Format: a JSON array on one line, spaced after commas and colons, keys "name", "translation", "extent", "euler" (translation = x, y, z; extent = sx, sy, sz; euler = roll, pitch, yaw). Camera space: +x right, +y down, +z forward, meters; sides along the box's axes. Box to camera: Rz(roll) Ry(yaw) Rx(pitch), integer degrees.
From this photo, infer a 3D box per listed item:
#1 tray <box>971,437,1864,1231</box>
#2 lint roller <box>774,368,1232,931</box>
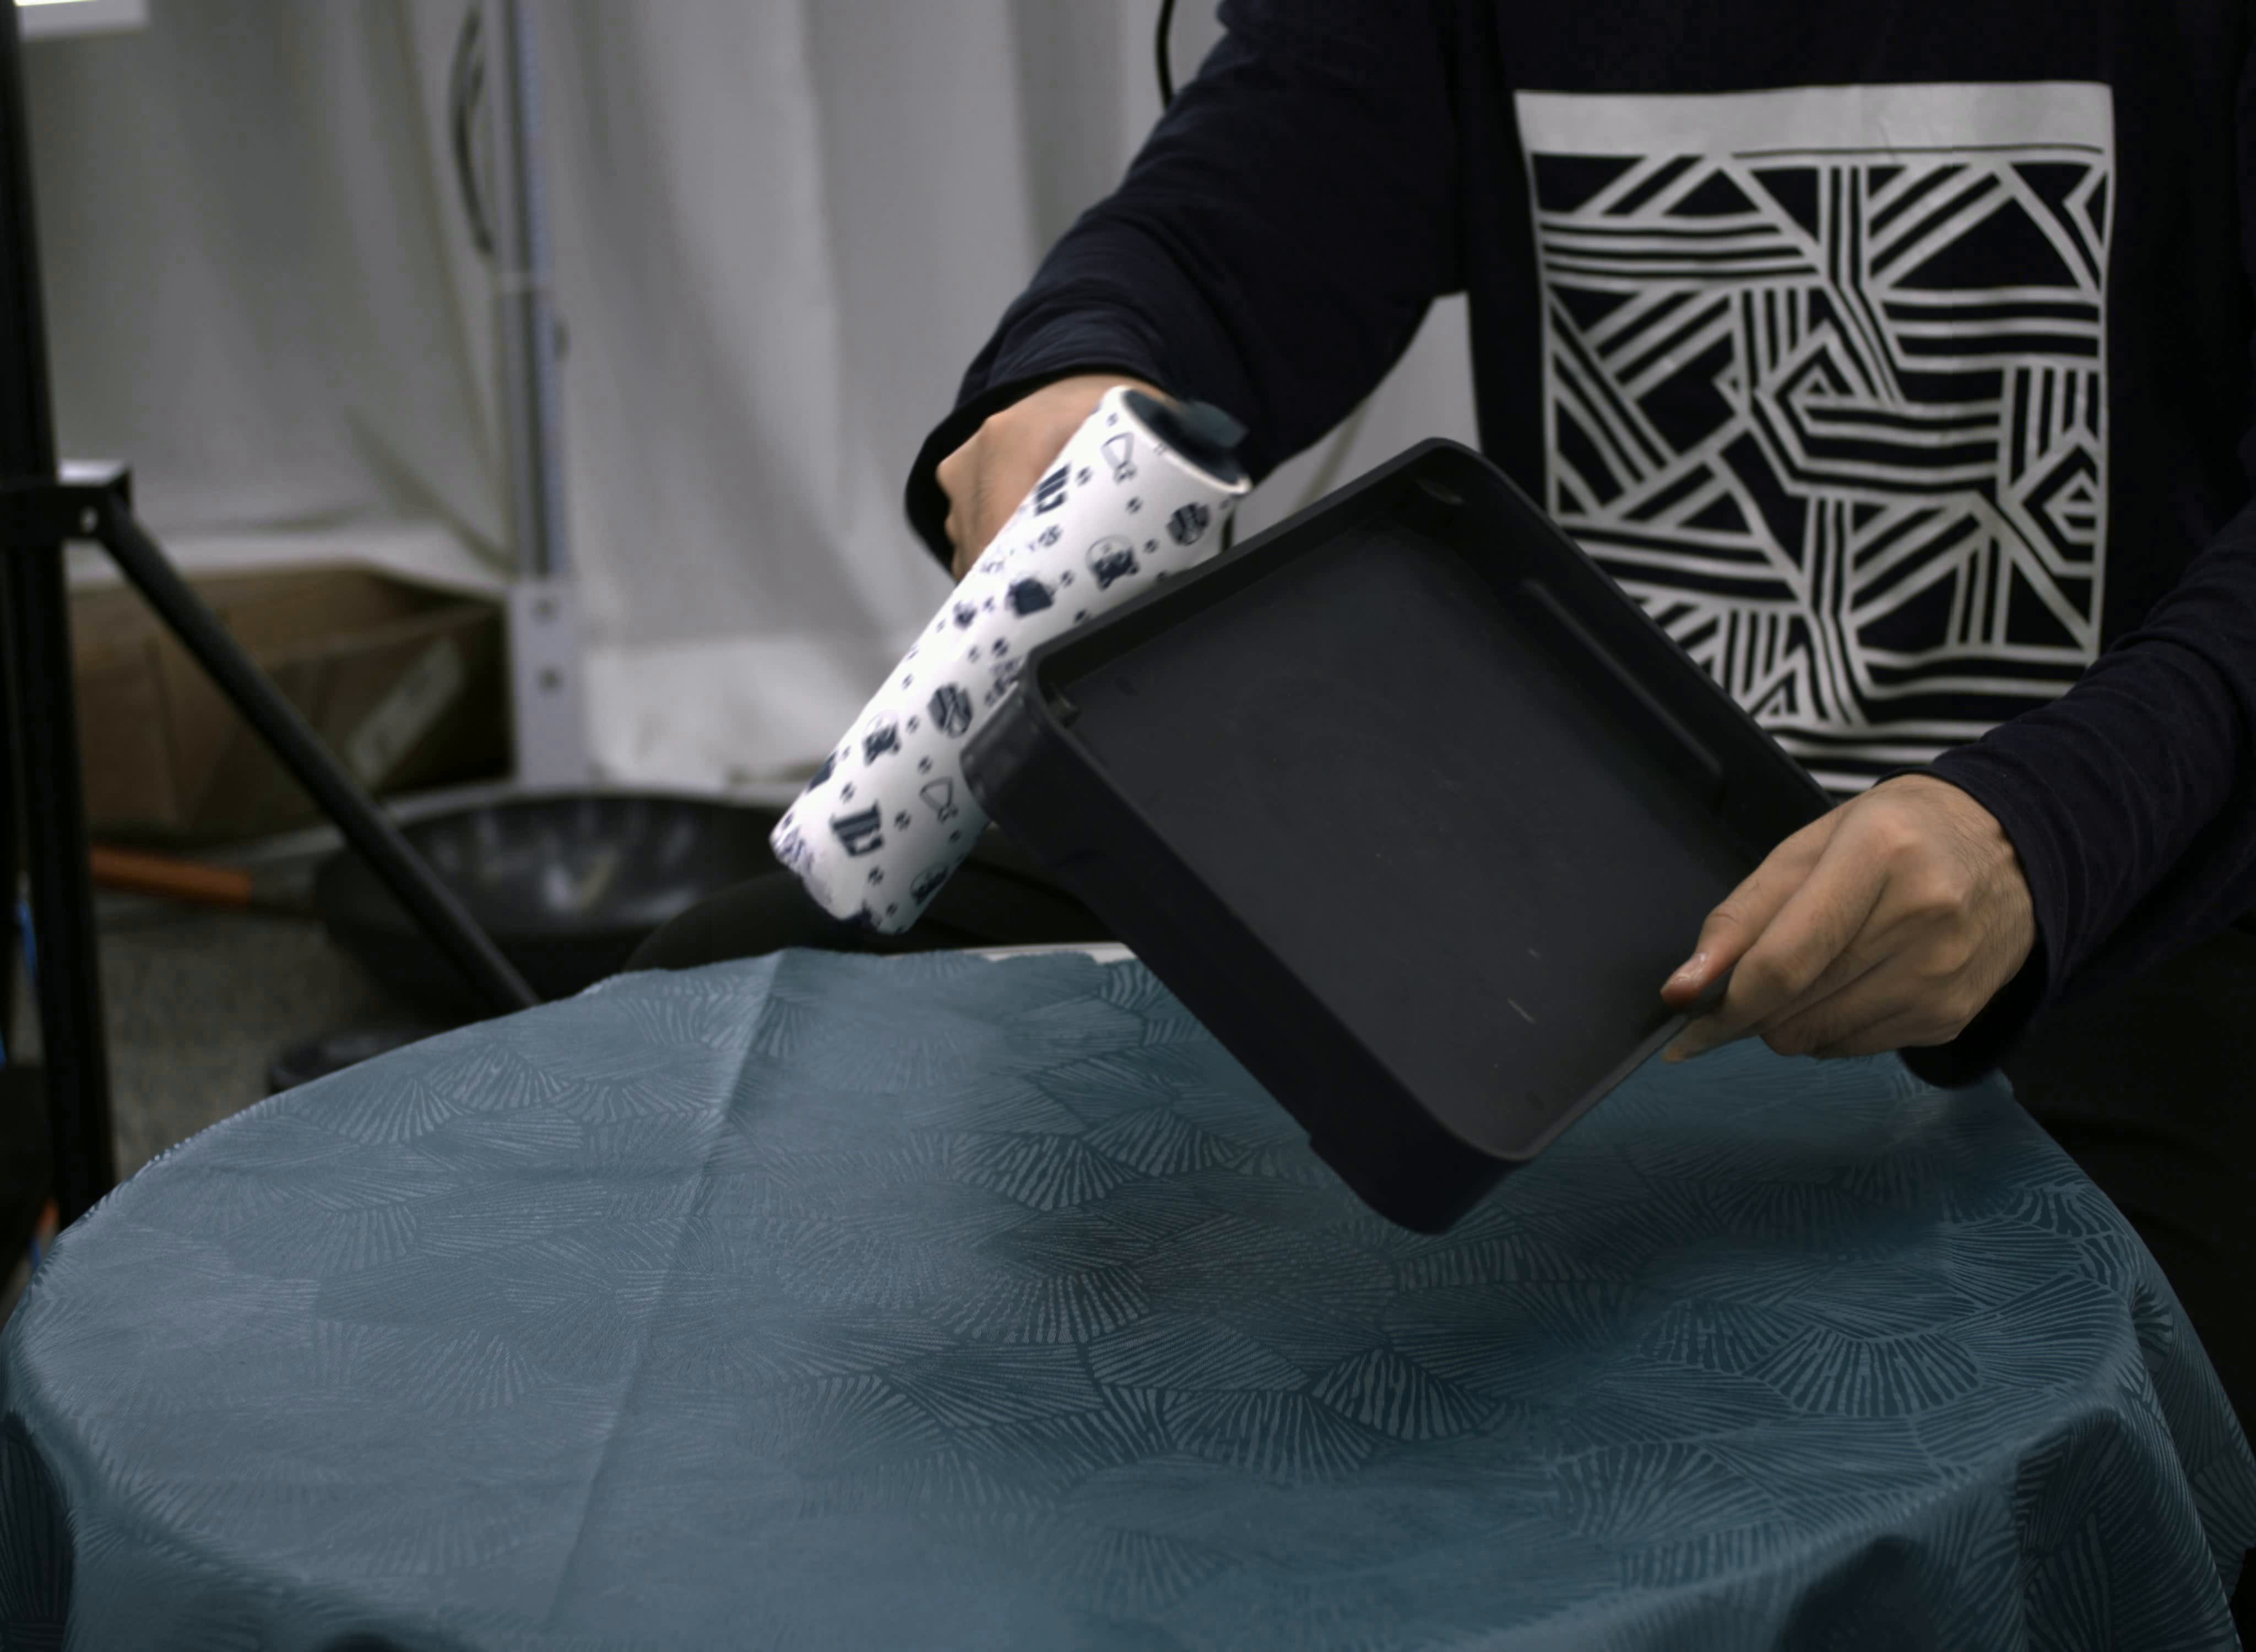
[{"name": "tray", "translation": [0.088, -0.006, 1.464], "extent": [0.185, 0.037, 0.313], "euler": [46, 28, 8]}, {"name": "lint roller", "translation": [-0.020, -0.067, 1.555], "extent": [0.050, 0.177, 0.246], "euler": [36, 15, 0]}]
